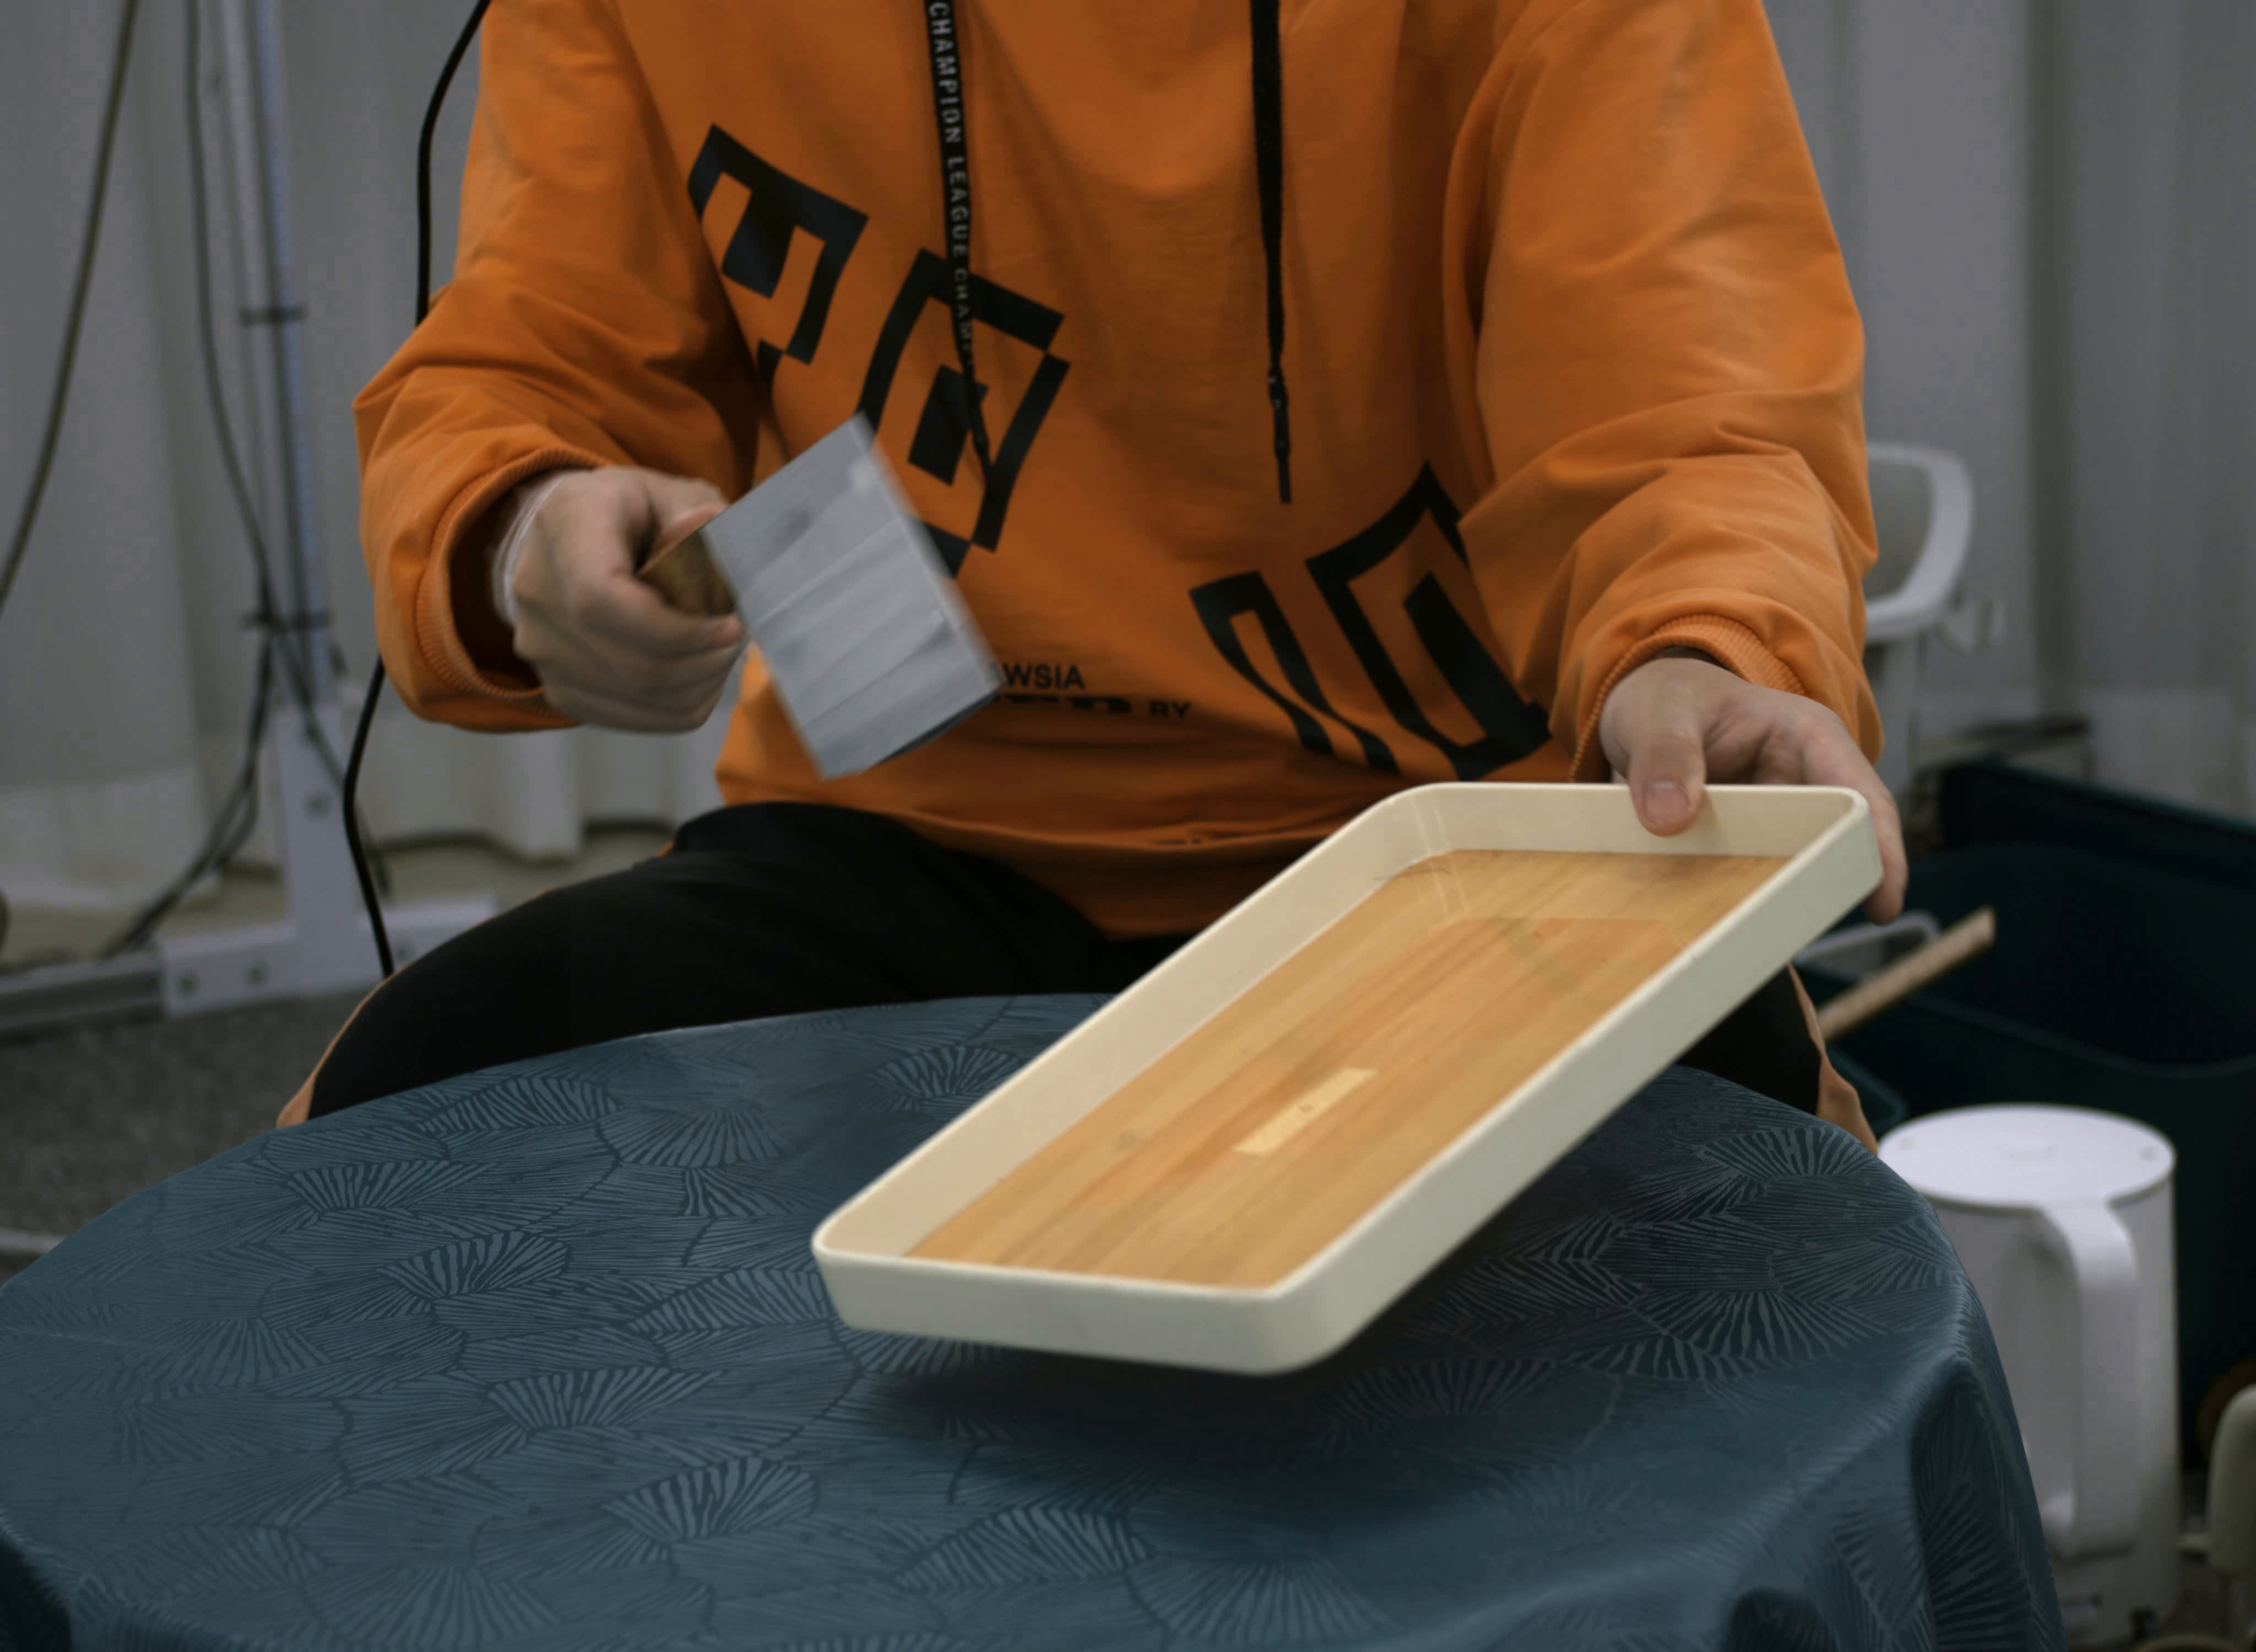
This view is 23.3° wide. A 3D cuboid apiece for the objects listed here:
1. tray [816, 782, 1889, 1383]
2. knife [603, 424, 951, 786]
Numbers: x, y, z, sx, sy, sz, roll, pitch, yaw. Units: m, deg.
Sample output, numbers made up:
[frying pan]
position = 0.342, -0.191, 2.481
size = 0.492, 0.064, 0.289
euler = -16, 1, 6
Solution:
[tray]
position = 0.068, 0.067, 1.577
size = 0.192, 0.027, 0.301
euler = 1, 28, 44
[knife]
position = -0.108, -0.057, 1.689
size = 0.021, 0.093, 0.305
euler = -28, 2, -19
